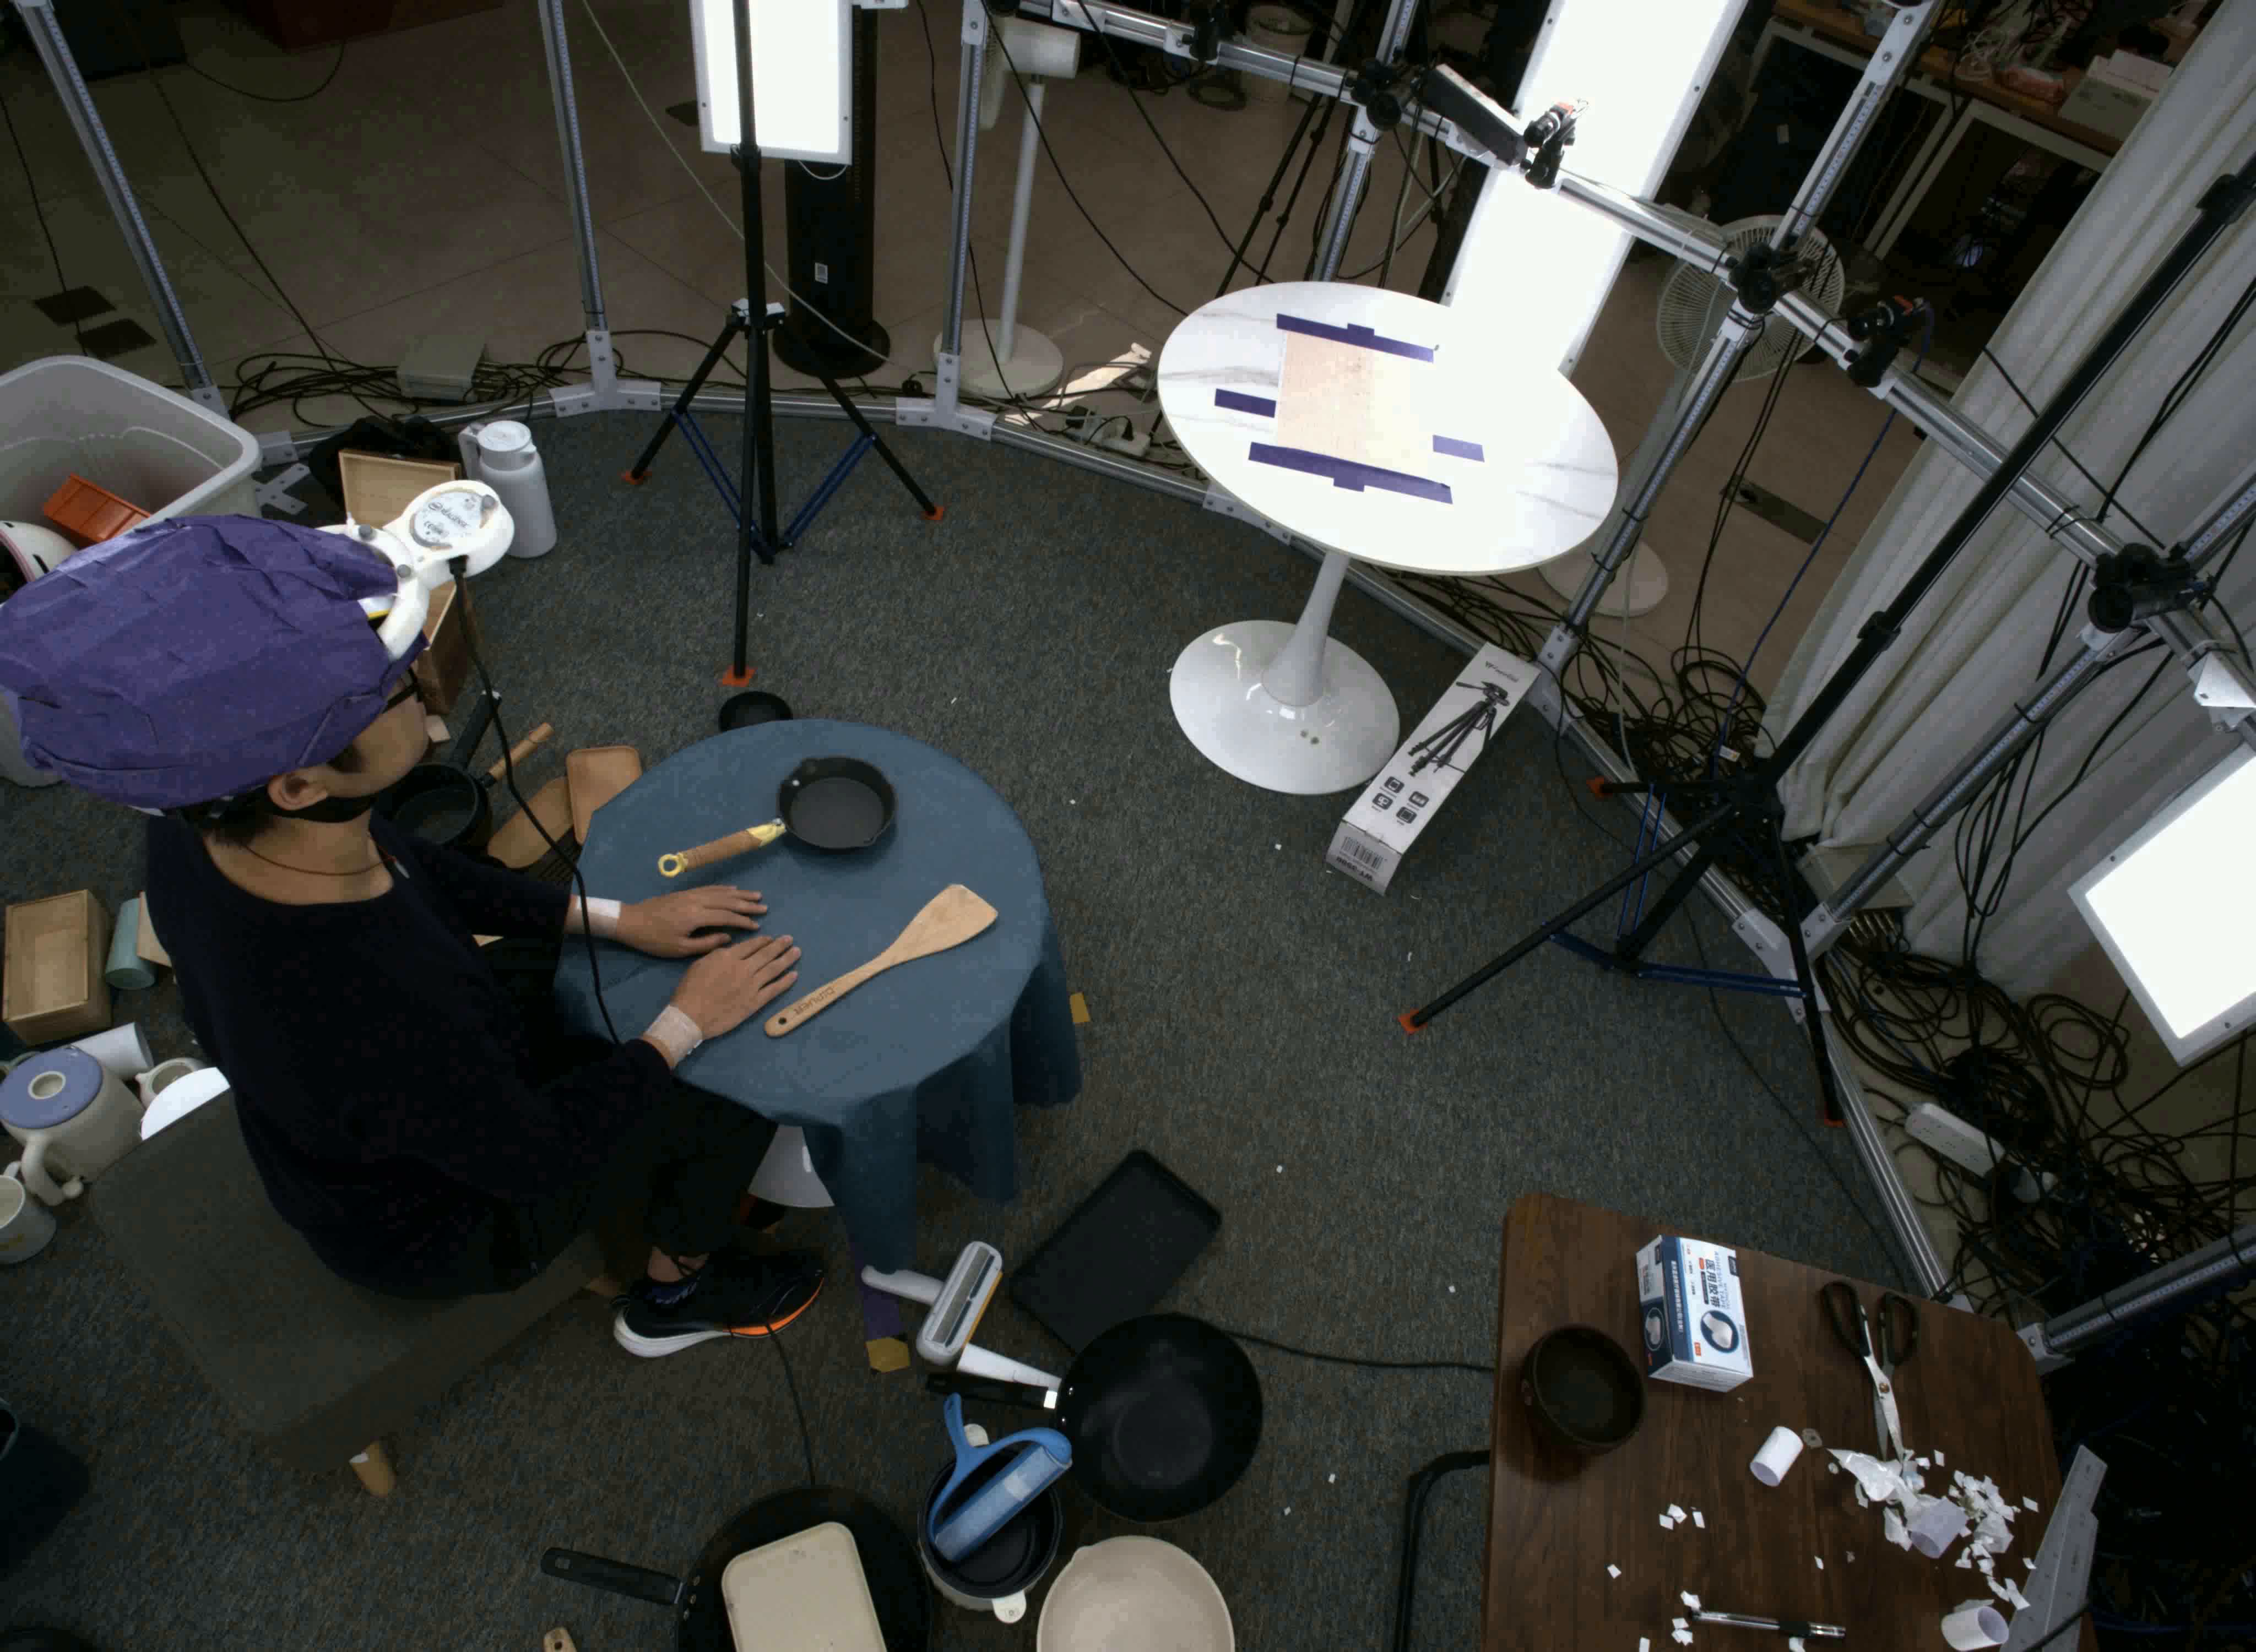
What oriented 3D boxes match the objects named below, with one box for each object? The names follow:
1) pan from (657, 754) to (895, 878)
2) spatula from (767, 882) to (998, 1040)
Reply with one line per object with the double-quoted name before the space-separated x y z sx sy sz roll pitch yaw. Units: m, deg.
"pan" -0.454 0.001 1.673 0.326 0.050 0.165 -24 63 -31
"spatula" -0.307 0.166 1.610 0.328 0.017 0.078 -33 67 -32
